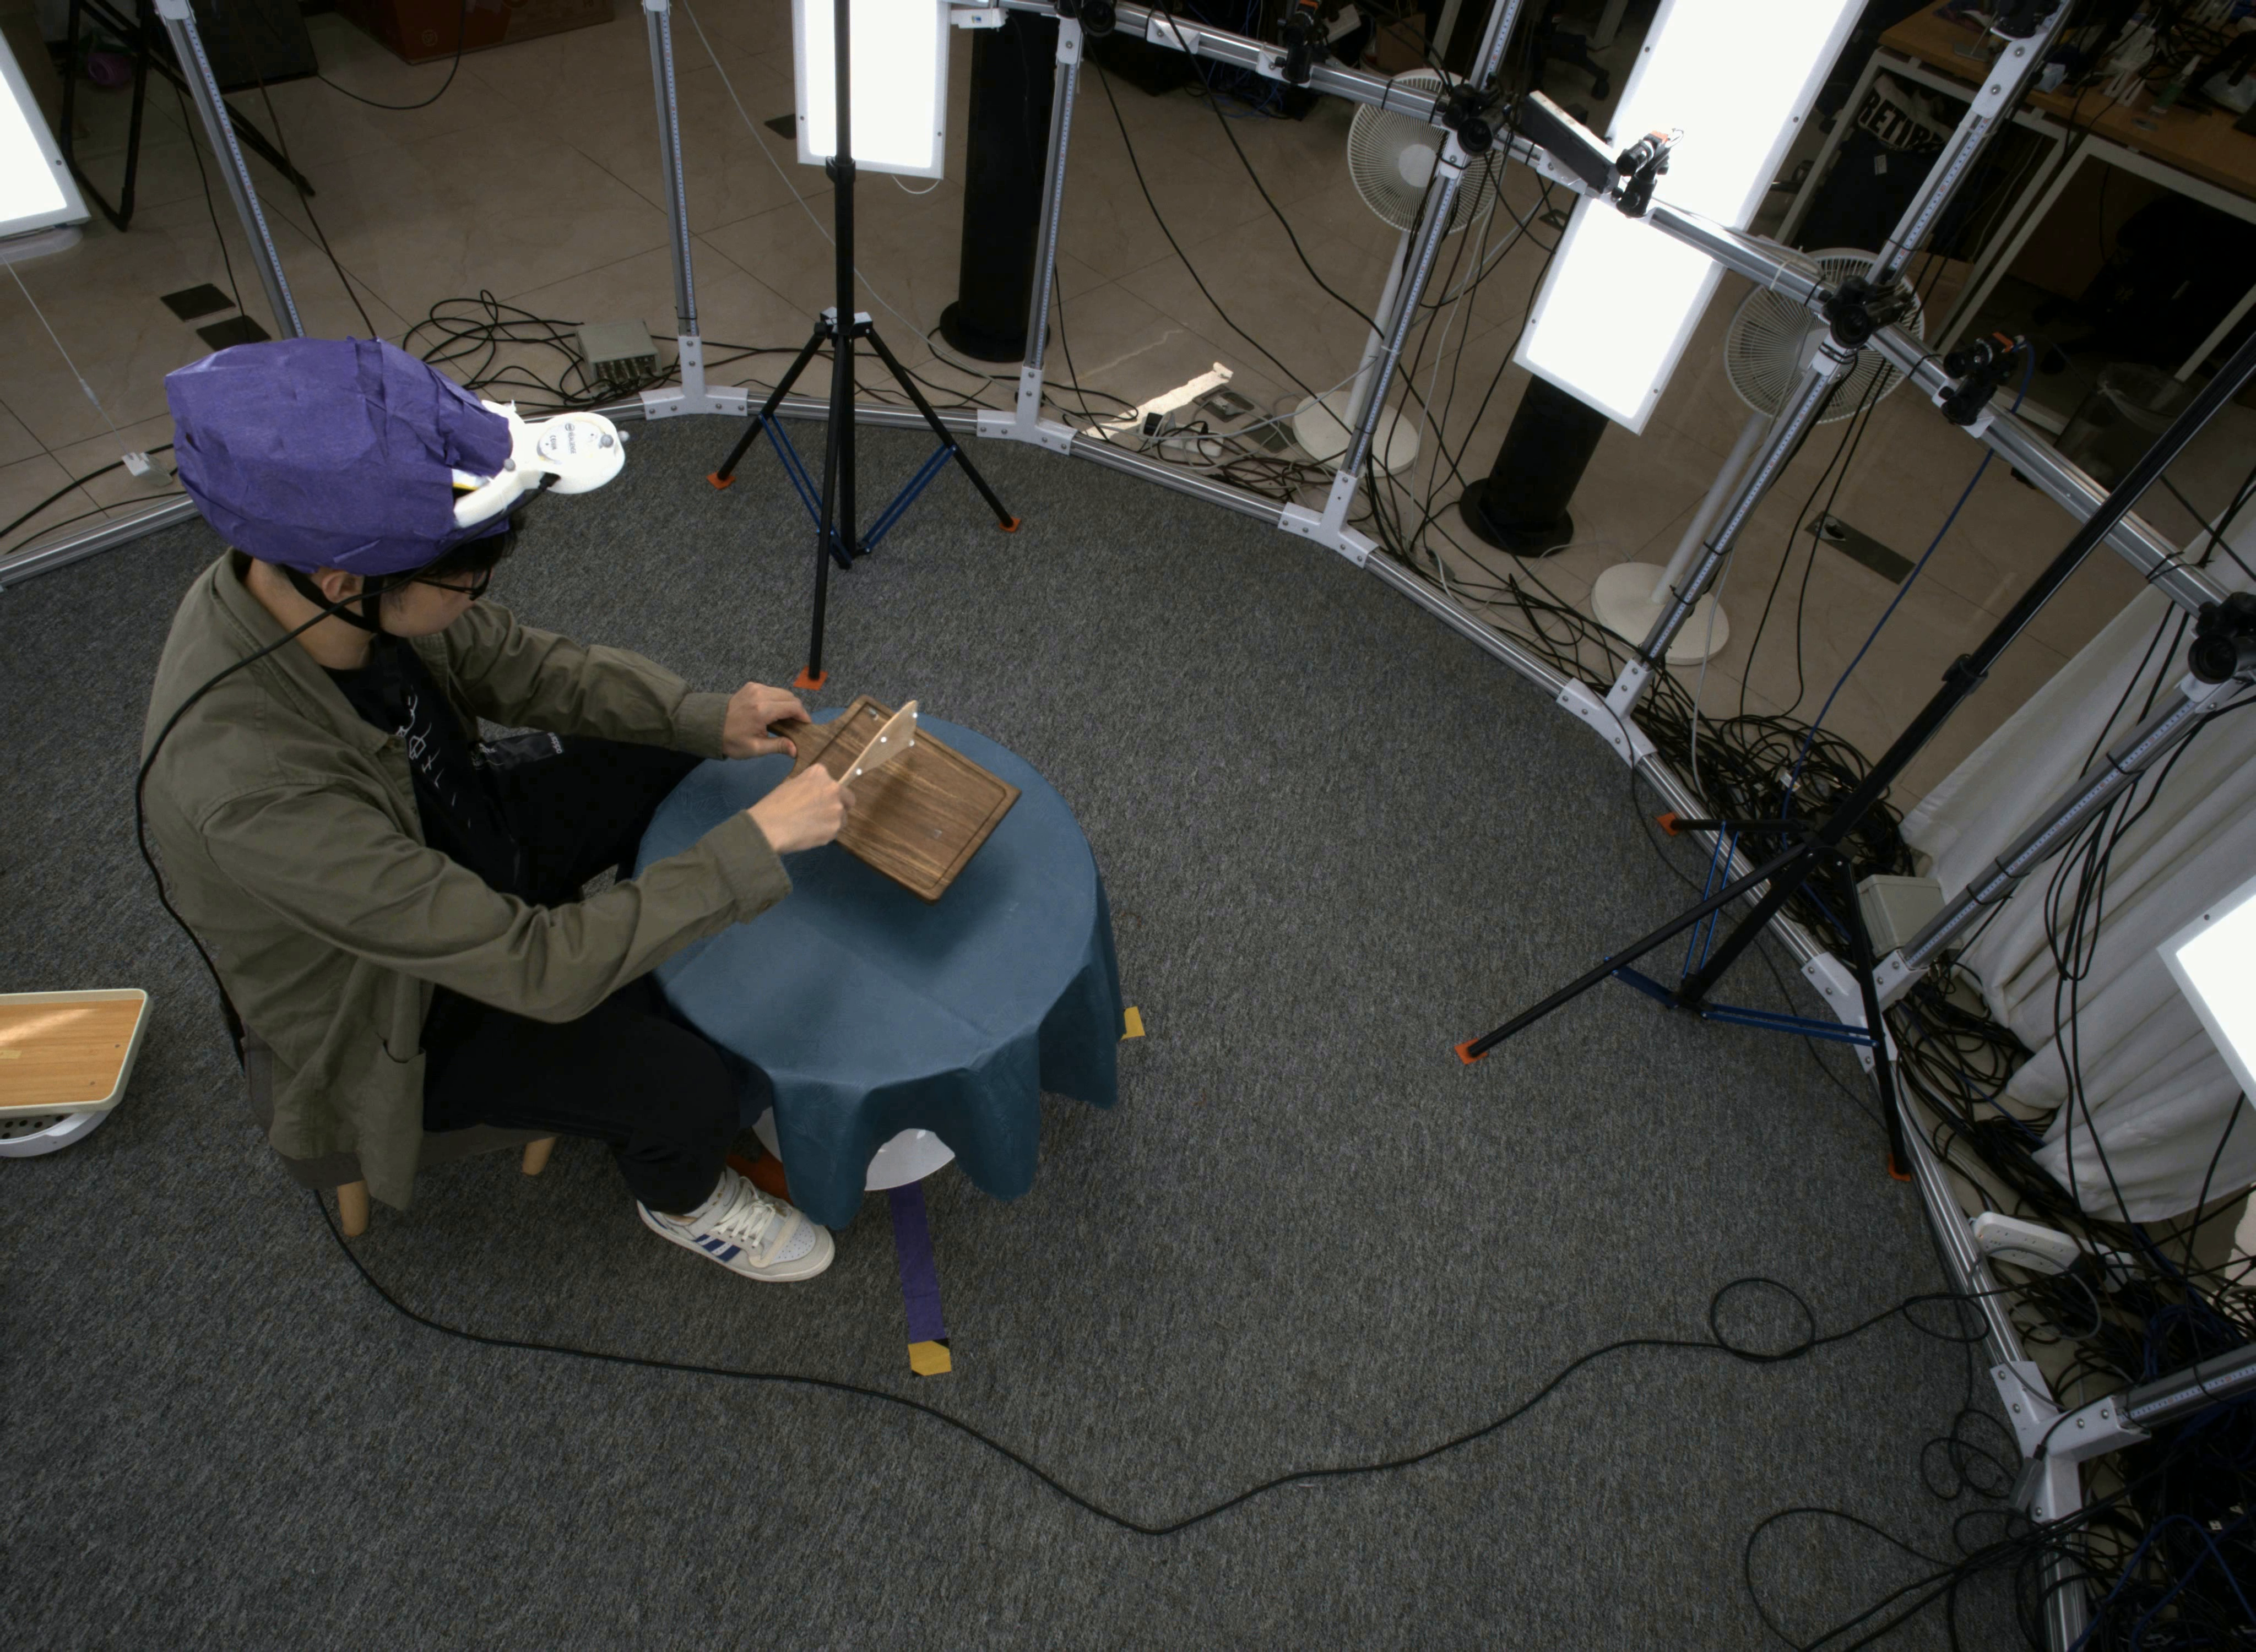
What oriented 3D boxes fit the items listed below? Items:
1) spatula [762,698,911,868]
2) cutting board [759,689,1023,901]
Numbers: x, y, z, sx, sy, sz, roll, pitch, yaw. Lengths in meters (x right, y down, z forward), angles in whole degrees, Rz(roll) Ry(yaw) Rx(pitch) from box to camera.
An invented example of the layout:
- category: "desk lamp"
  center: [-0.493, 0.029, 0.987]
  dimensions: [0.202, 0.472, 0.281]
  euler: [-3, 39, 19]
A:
- category: "spatula"
  center: [-0.334, -0.051, 1.515]
  dimensions: [0.016, 0.081, 0.325]
  euler: [25, 40, 6]
- category: "cutting board"
  center: [-0.328, -0.071, 1.669]
  dimensions: [0.349, 0.023, 0.200]
  euler: [34, 61, 4]
